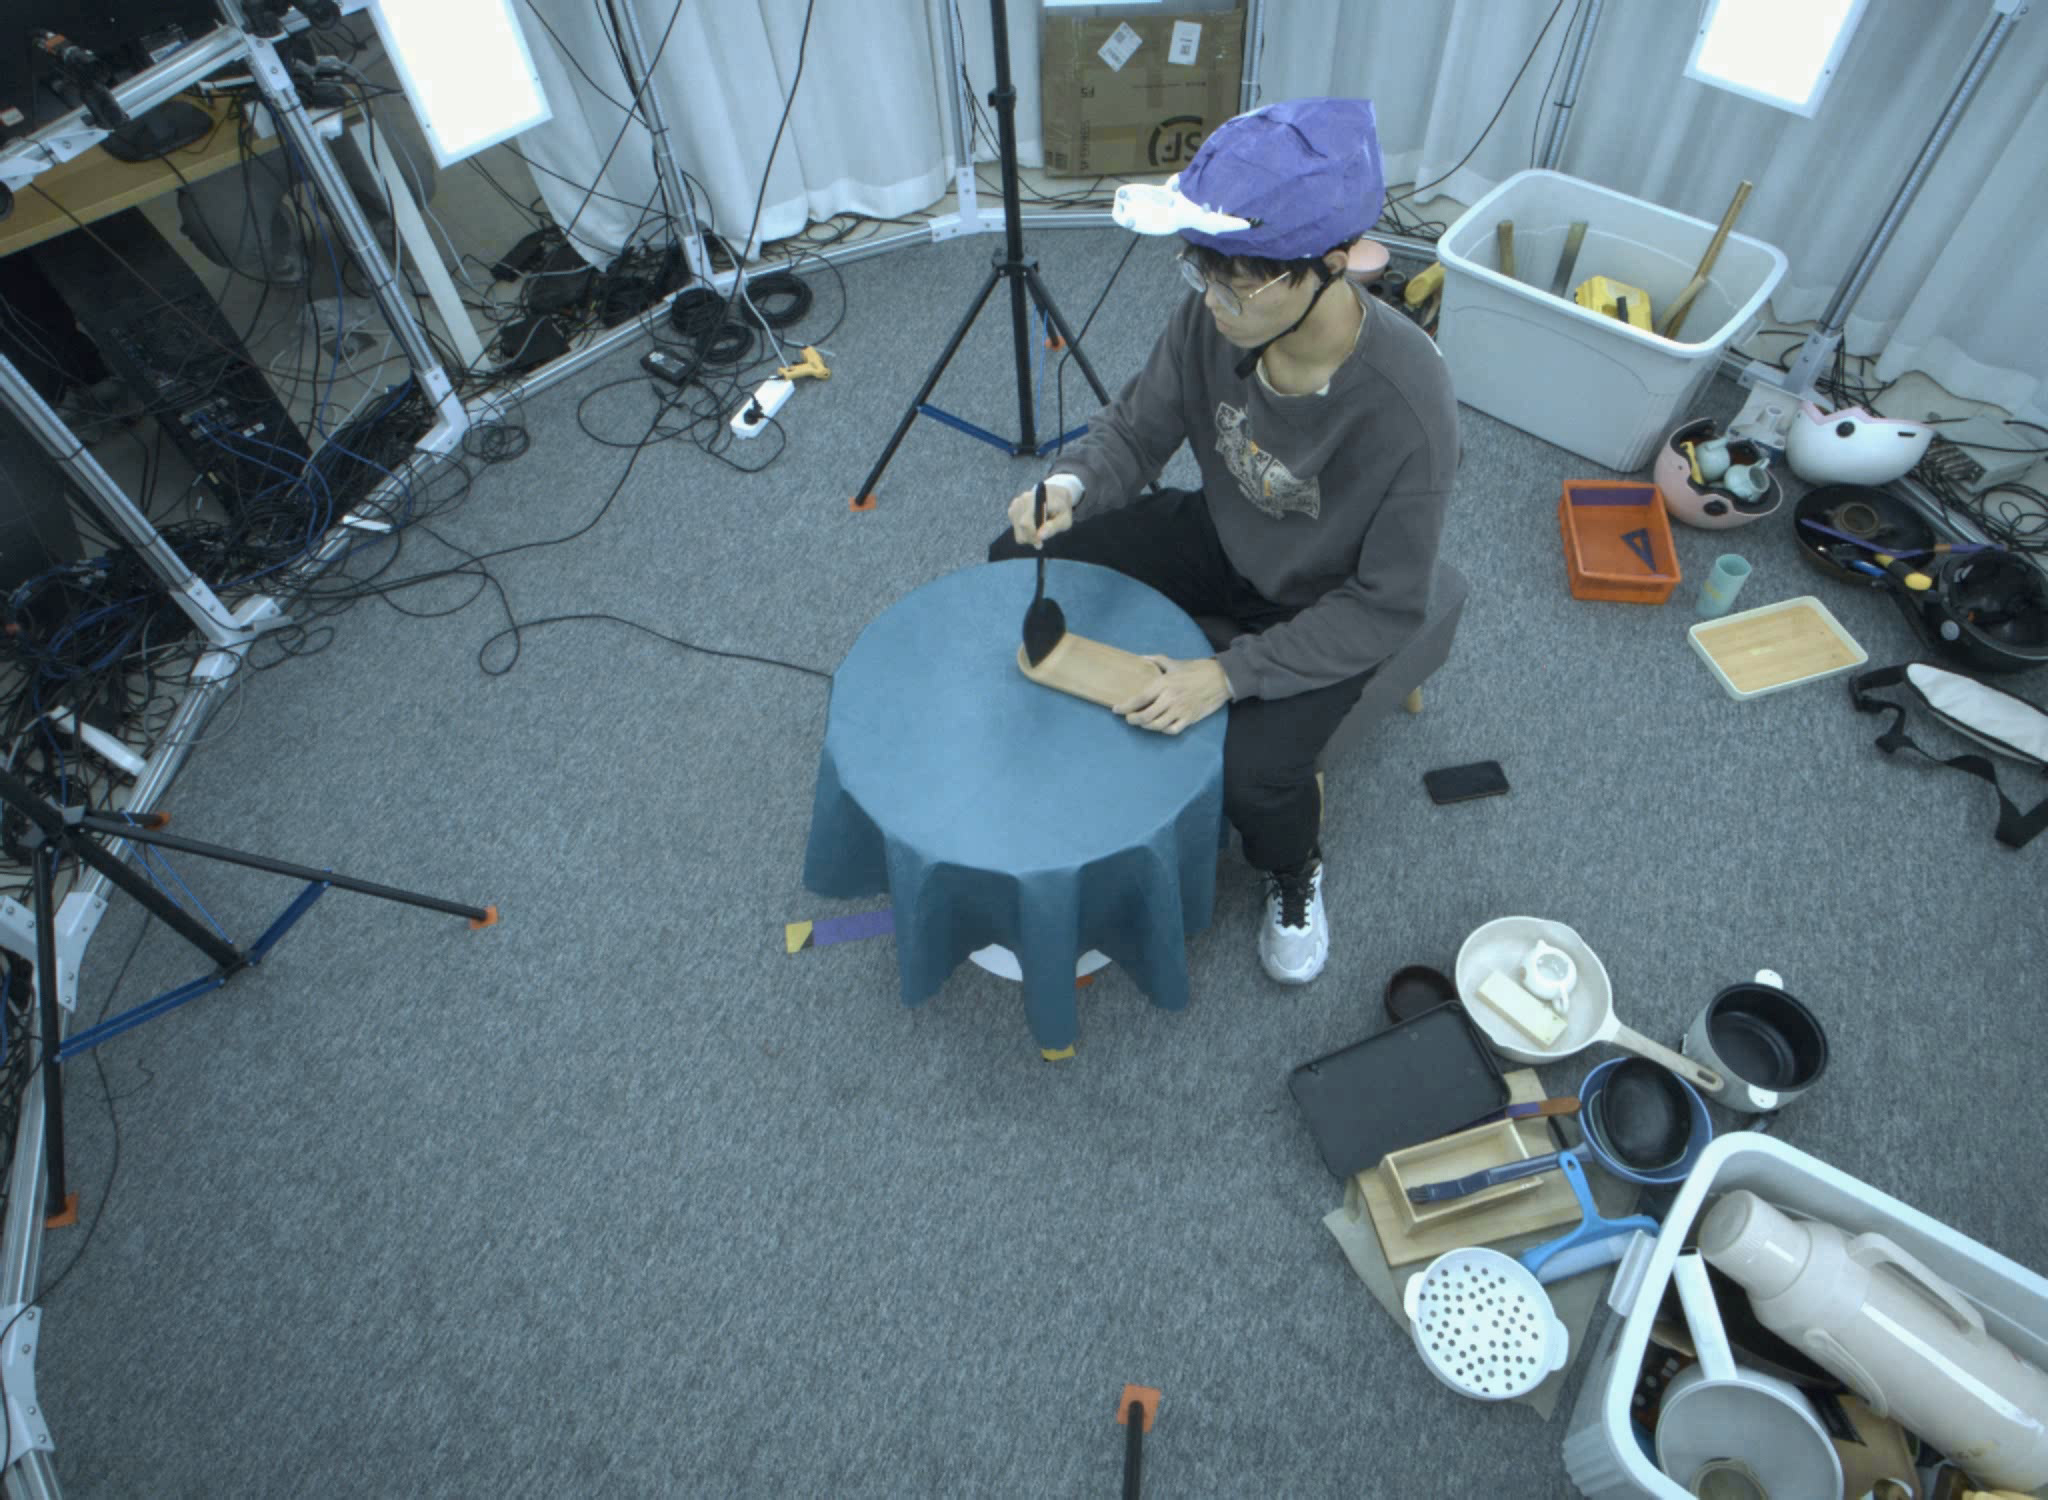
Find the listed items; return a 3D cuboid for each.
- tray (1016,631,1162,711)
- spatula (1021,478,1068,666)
[{"bbox_3d":[0.097,-0.120,1.858,0.228,0.020,0.102,19,58,17],"label":"tray"},{"bbox_3d":[0.028,-0.253,1.727,0.040,0.329,0.100,29,59,18],"label":"spatula"}]
